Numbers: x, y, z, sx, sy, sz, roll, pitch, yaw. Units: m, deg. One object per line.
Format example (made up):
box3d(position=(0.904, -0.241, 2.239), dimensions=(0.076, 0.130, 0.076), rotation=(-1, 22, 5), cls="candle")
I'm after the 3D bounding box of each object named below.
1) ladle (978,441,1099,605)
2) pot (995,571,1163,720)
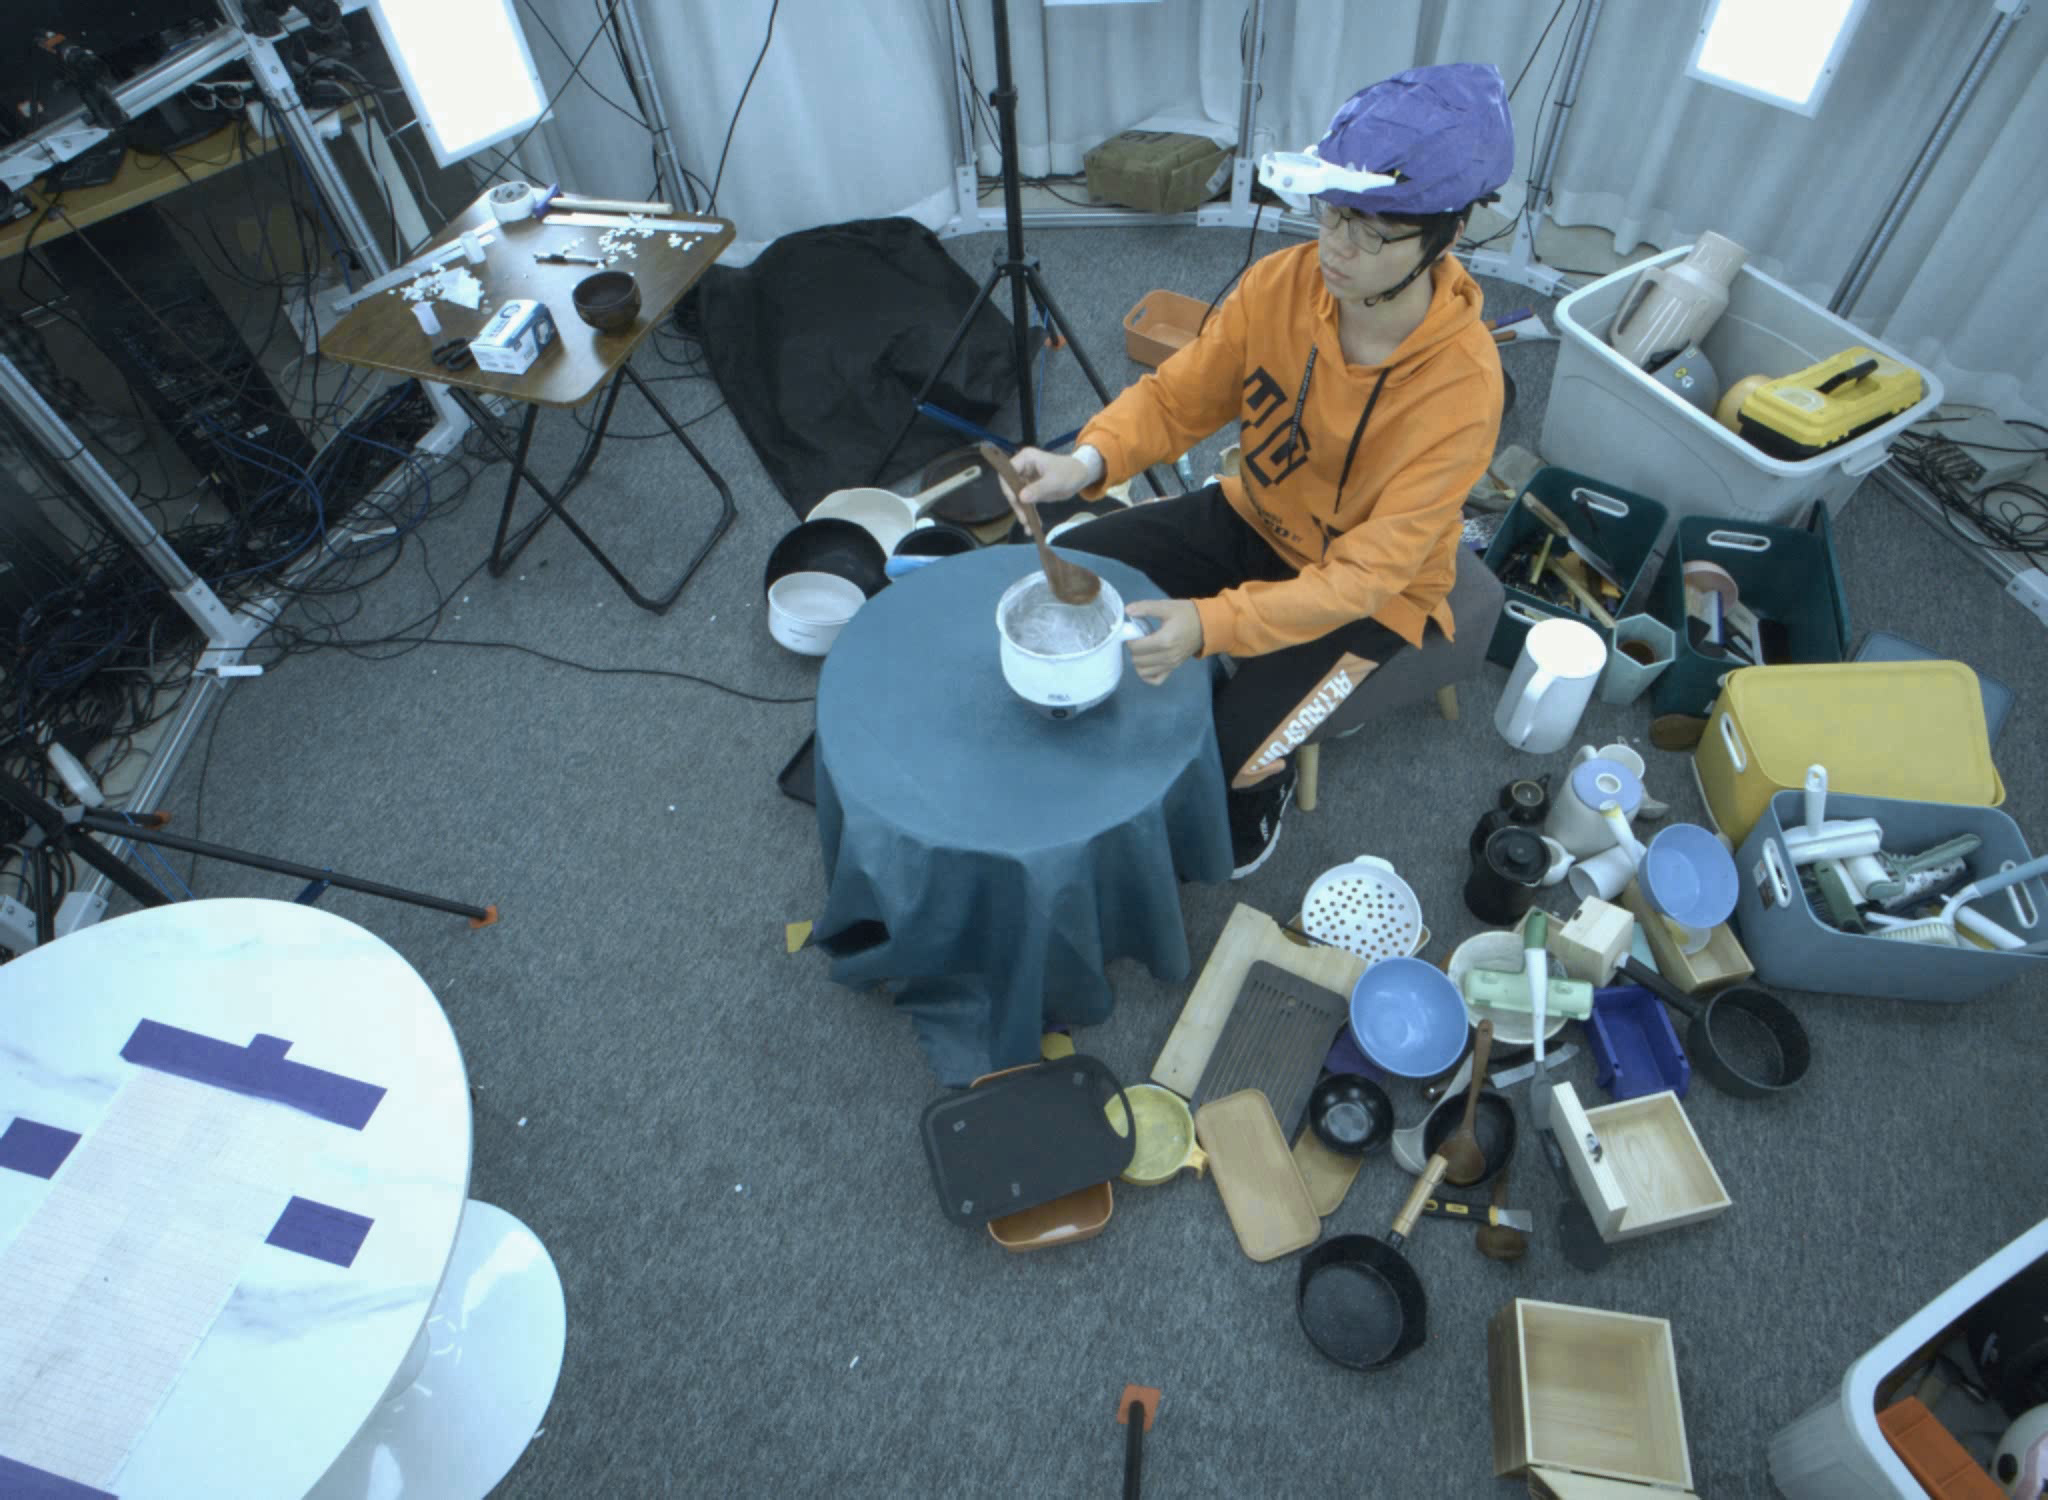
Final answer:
box3d(position=(0.018, -0.313, 1.660), dimensions=(0.064, 0.262, 0.077), rotation=(-17, 16, 40), cls="ladle")
box3d(position=(0.080, -0.149, 1.743), dimensions=(0.233, 0.138, 0.177), rotation=(0, 53, 3), cls="pot")
